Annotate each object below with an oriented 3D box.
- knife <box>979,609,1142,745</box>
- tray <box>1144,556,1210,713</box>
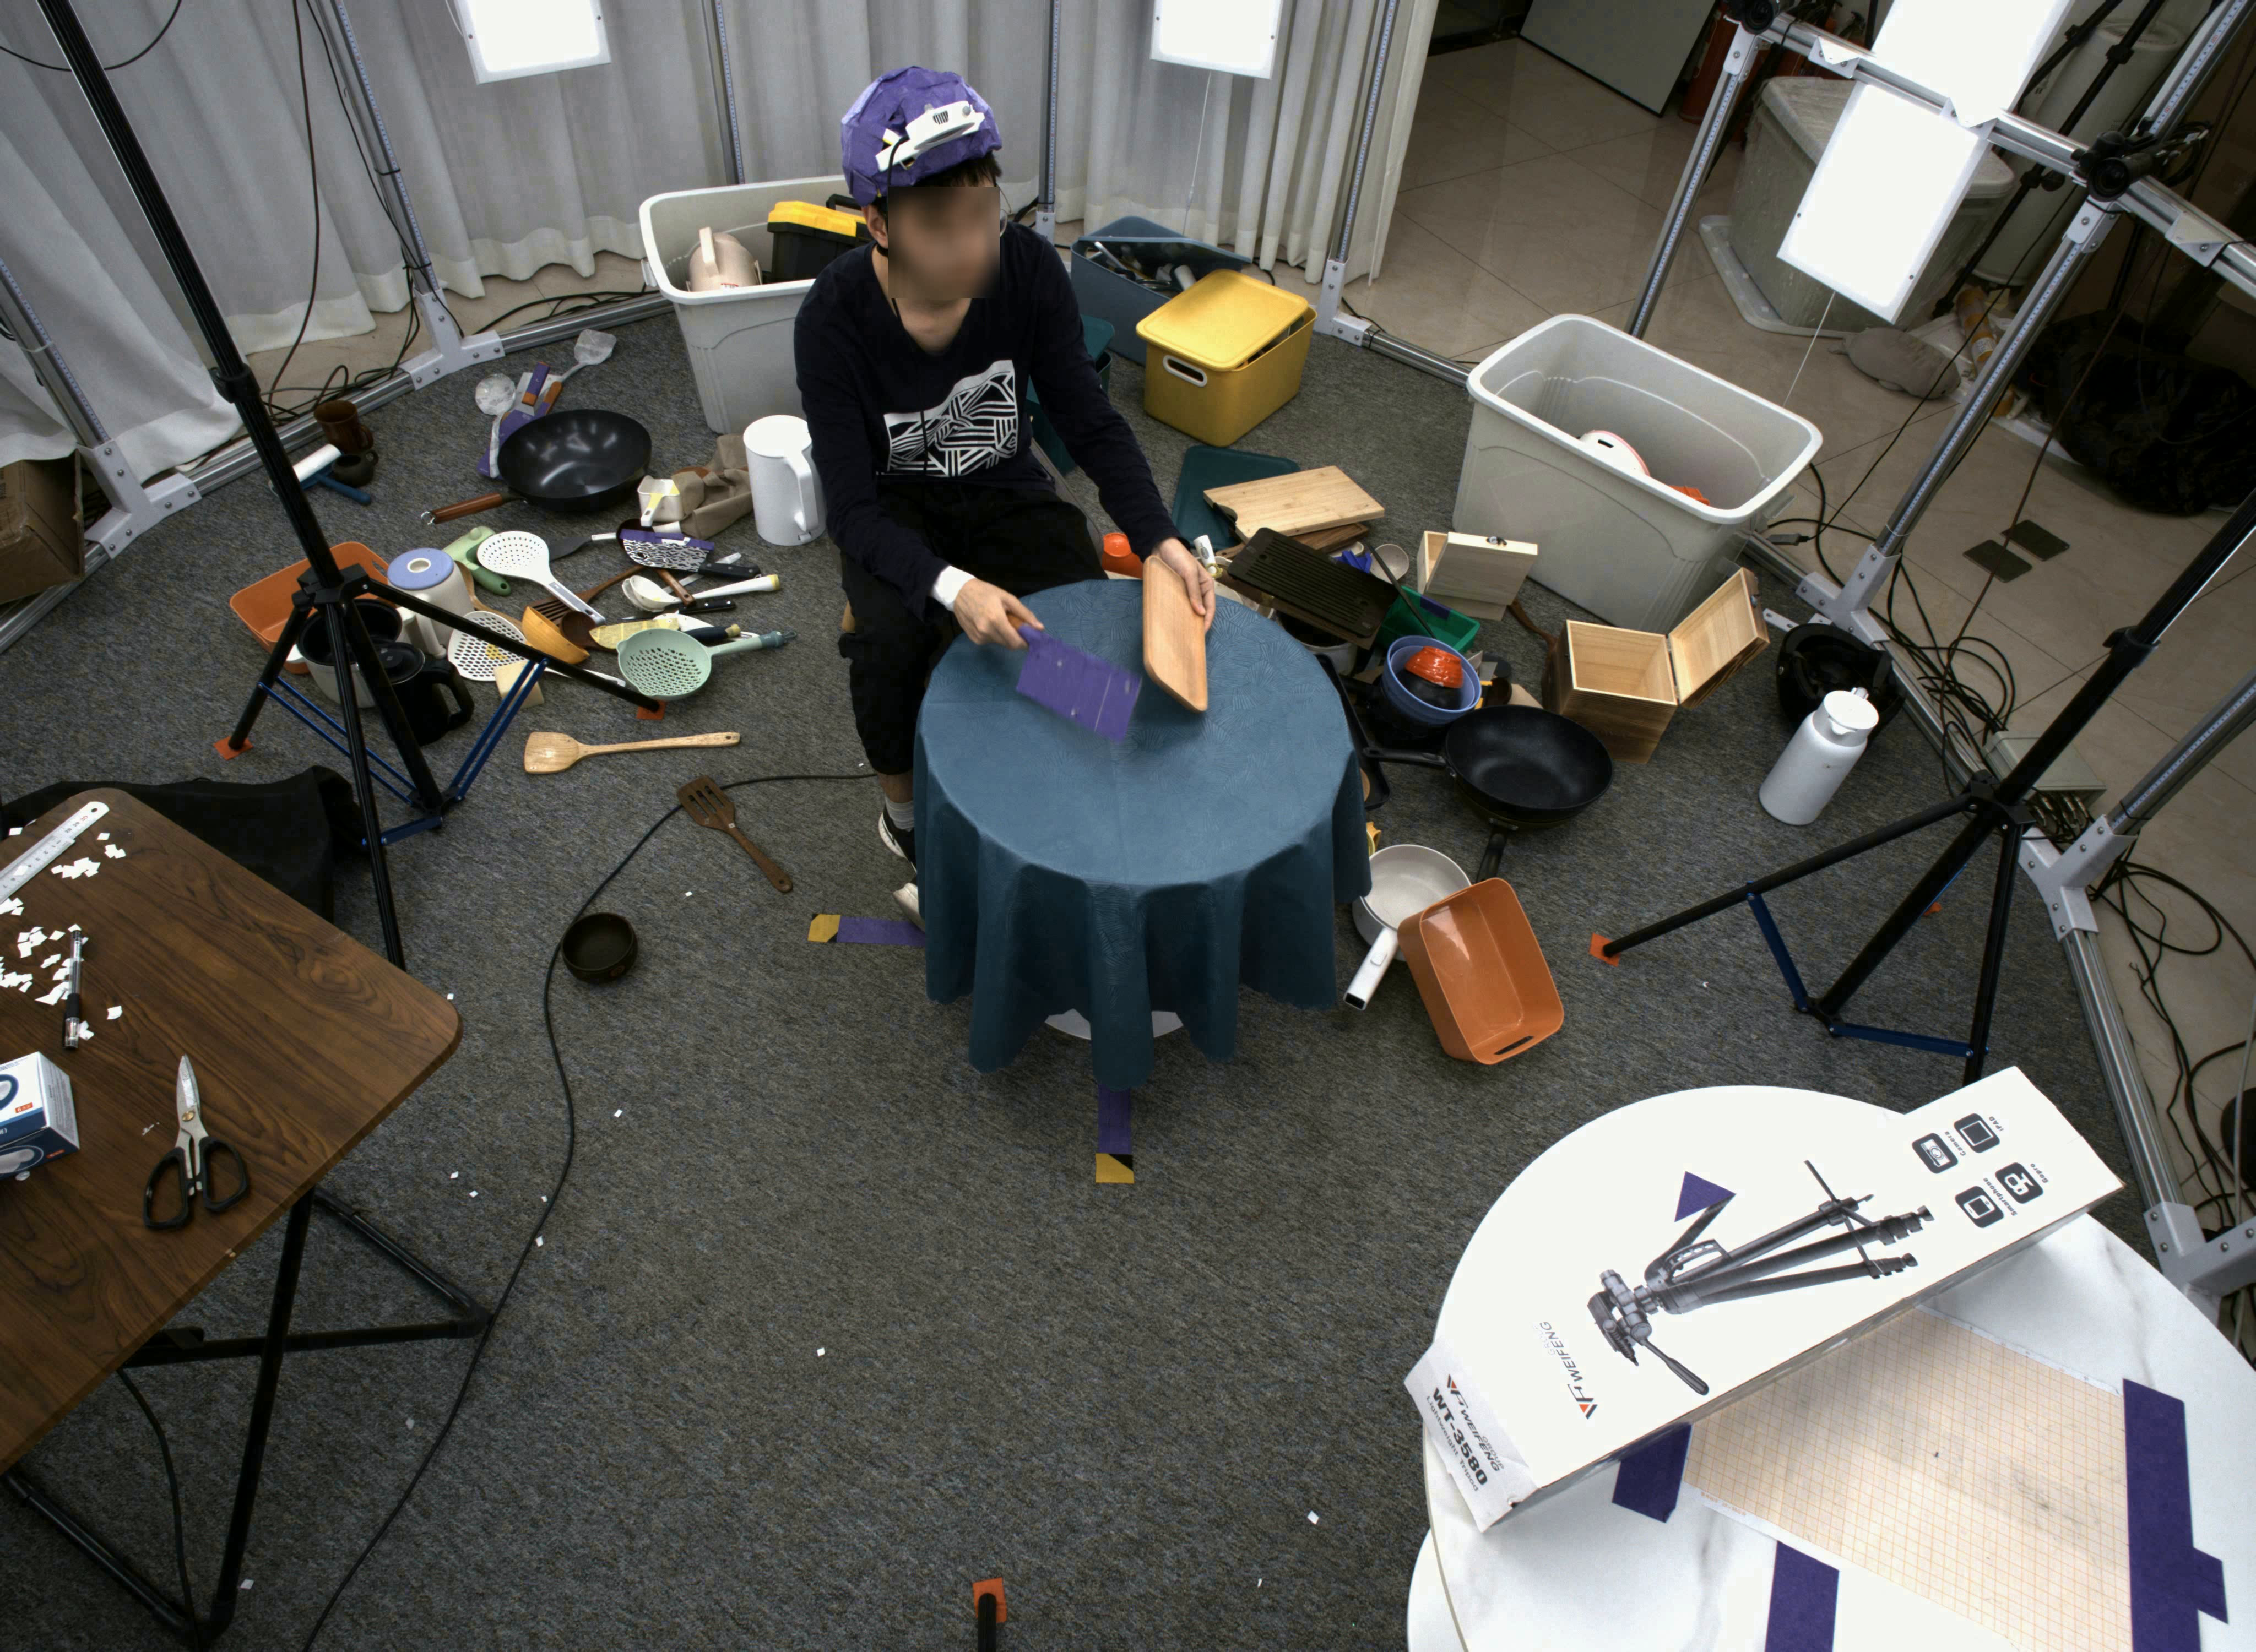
[{"bbox_3d":[-0.107,-0.206,1.764,0.320,0.103,0.032,32,17,37],"label":"knife"},{"bbox_3d":[0.069,-0.274,1.832,0.023,0.128,0.257,-29,40,30],"label":"tray"}]
